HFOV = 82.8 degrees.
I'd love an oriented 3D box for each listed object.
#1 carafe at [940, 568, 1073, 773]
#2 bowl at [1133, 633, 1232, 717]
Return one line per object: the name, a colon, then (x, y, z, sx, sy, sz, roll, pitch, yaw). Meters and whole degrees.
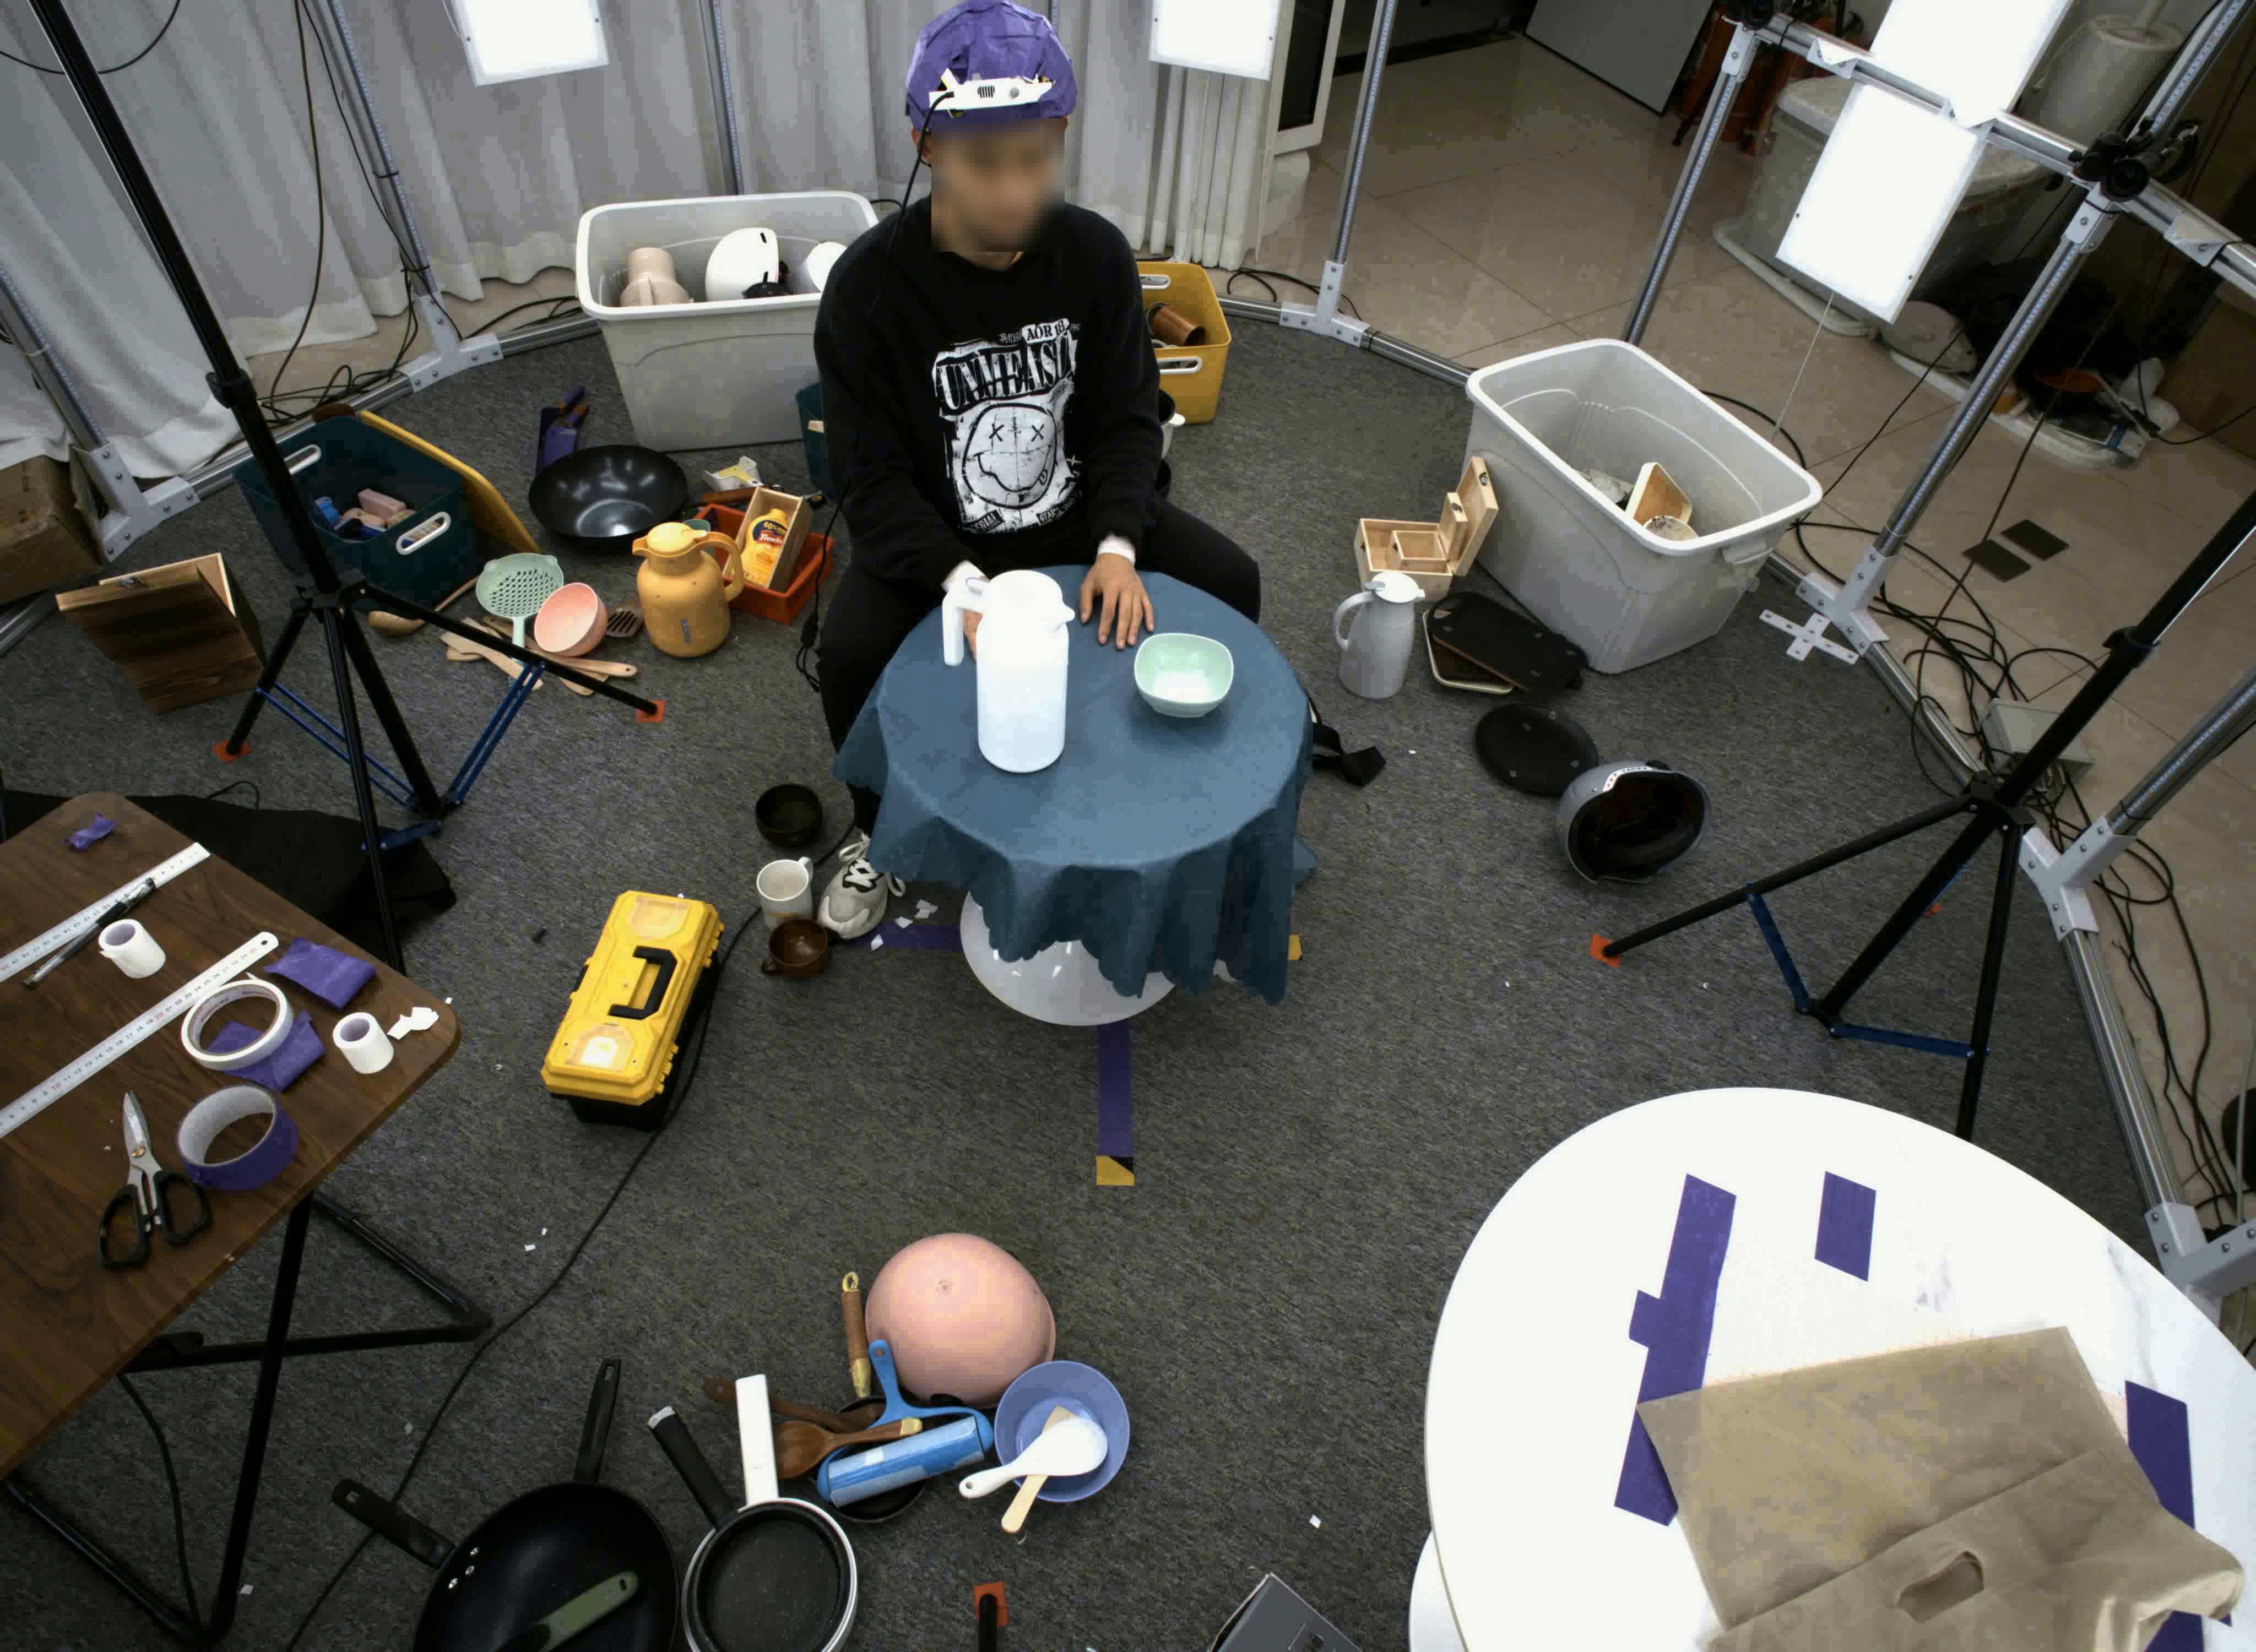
carafe: (-0.156, -0.200, 1.661, 0.173, 0.262, 0.126, 16, 52, 10)
bowl: (0.076, -0.204, 1.816, 0.151, 0.057, 0.155, 2, 49, -3)
